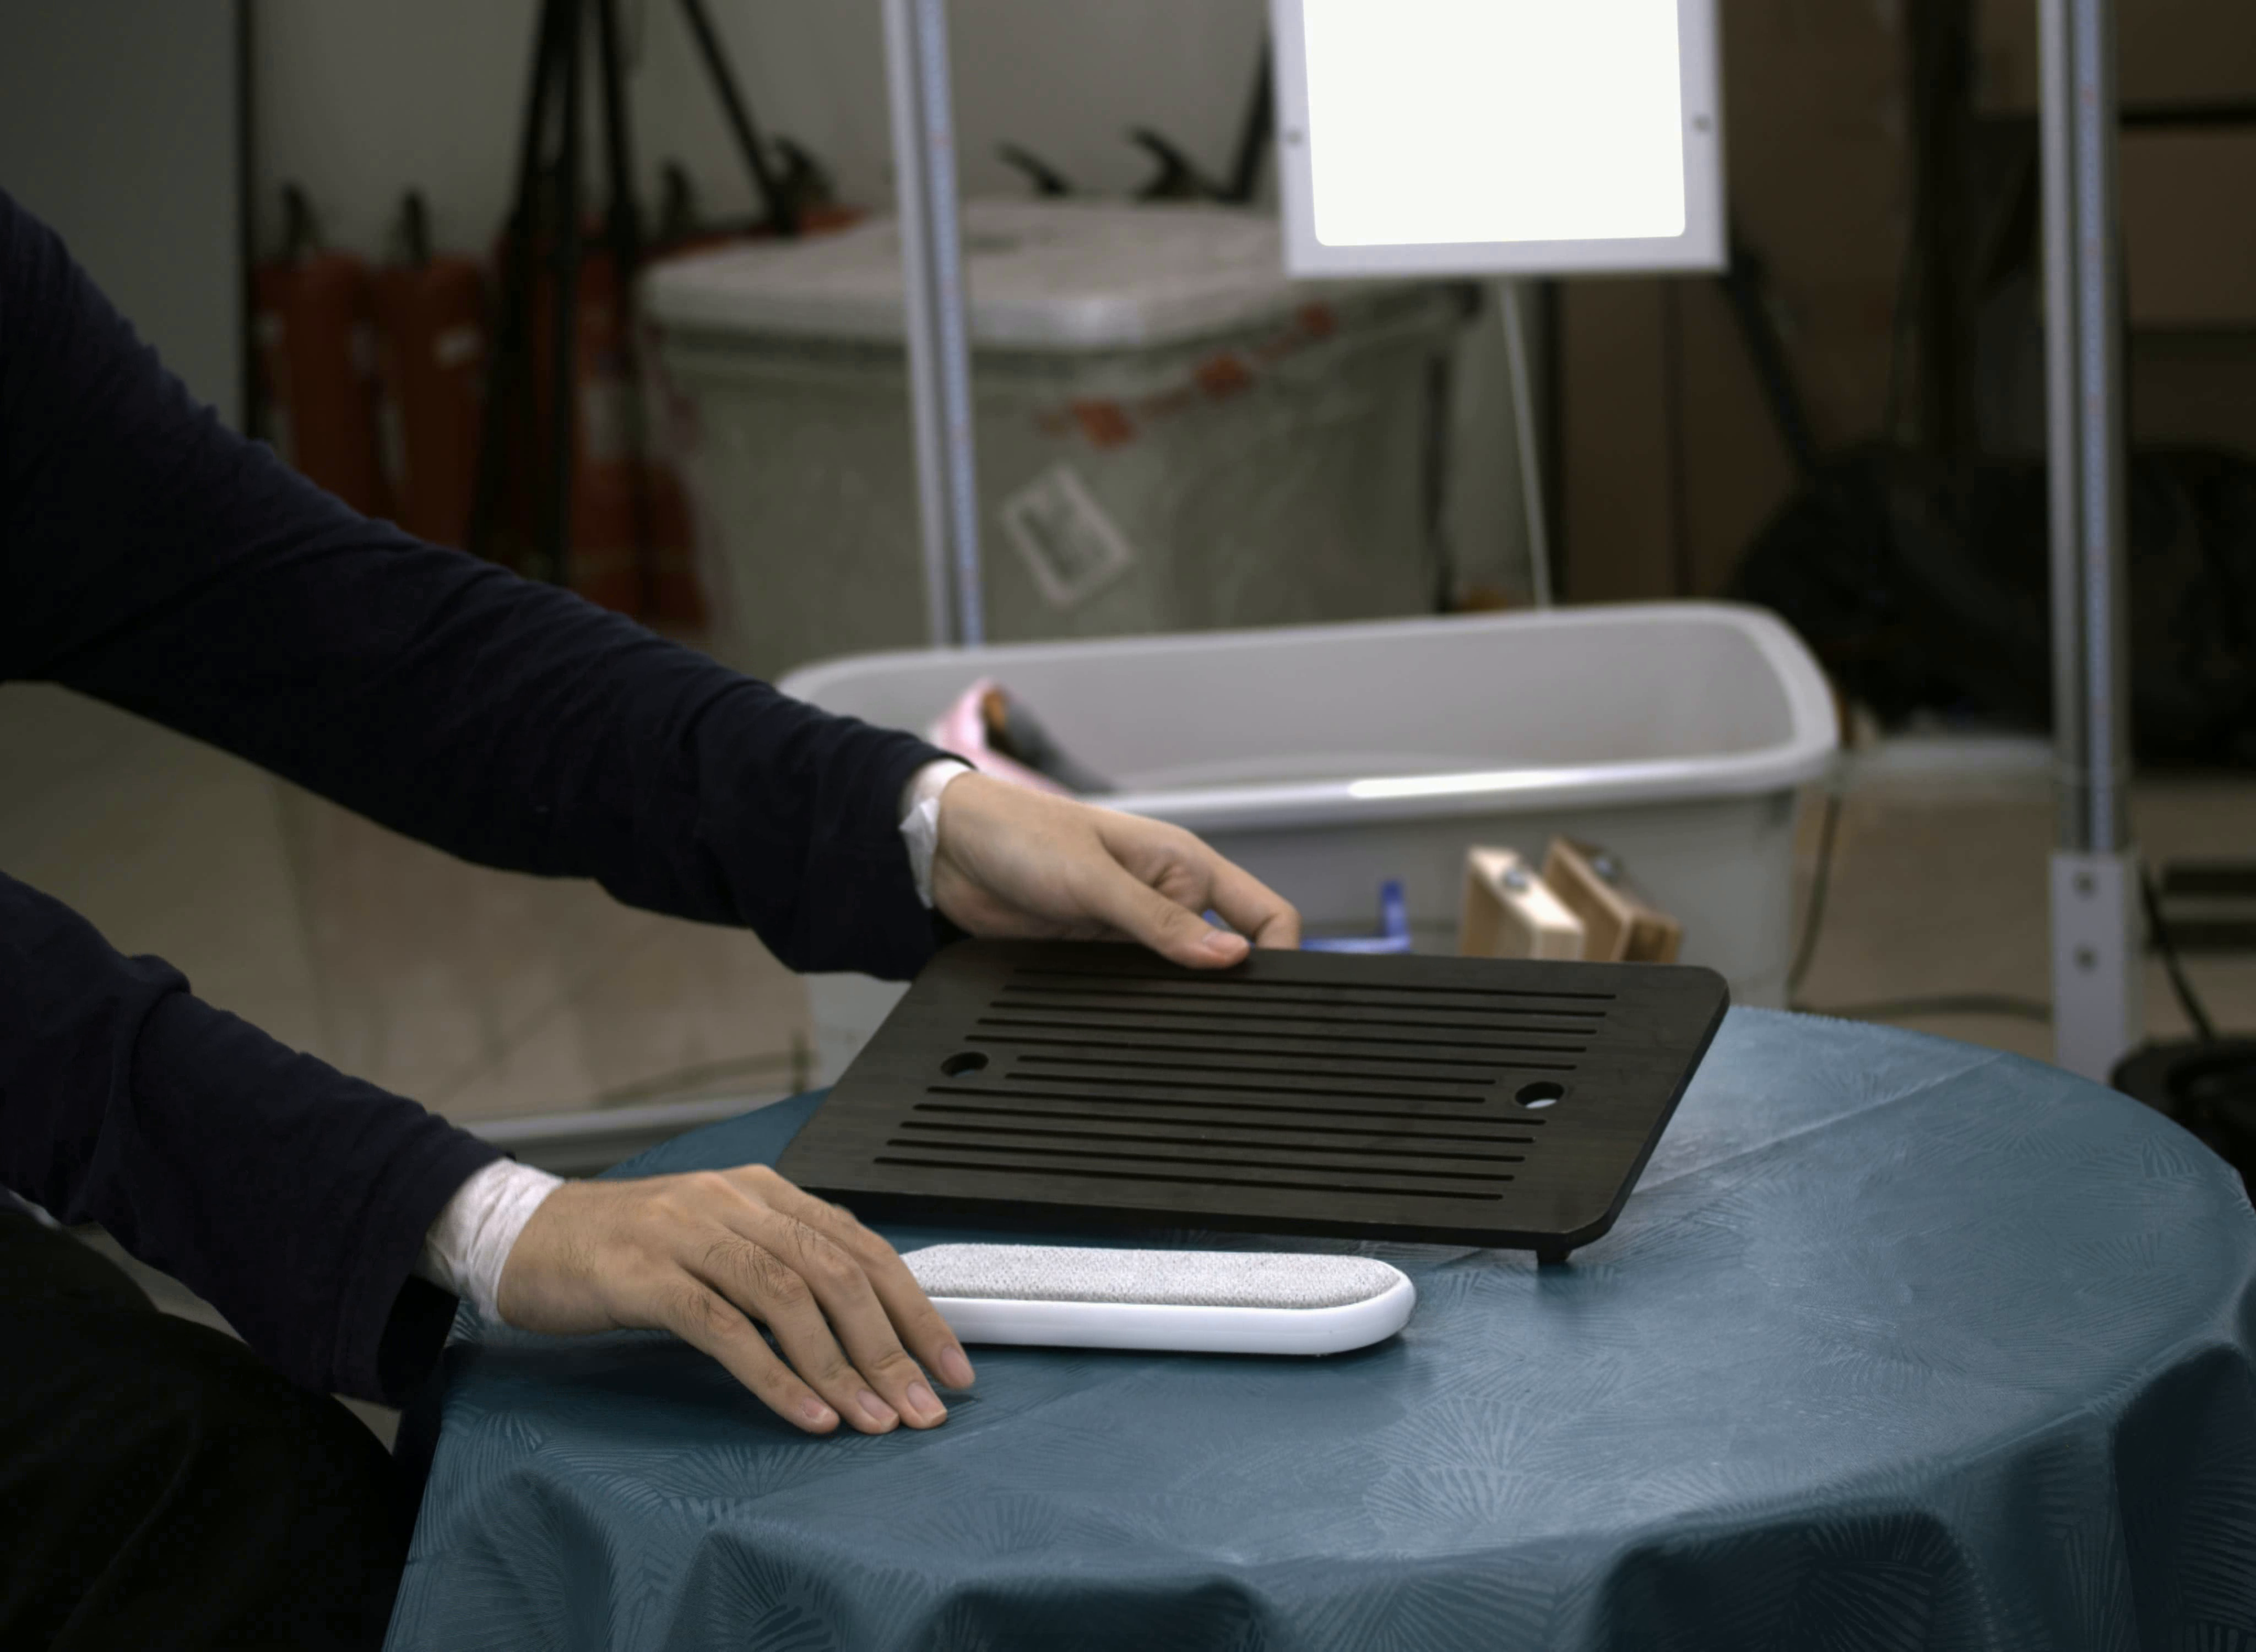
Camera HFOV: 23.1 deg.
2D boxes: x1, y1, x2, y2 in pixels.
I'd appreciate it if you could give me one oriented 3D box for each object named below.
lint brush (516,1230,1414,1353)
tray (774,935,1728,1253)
[{"bbox_3d":[-0.057,0.148,1.782,0.313,0.021,0.059,0,20,22],"label":"lint brush"},{"bbox_3d":[0.043,0.091,1.907,0.311,0.018,0.167,1,31,25],"label":"tray"}]
